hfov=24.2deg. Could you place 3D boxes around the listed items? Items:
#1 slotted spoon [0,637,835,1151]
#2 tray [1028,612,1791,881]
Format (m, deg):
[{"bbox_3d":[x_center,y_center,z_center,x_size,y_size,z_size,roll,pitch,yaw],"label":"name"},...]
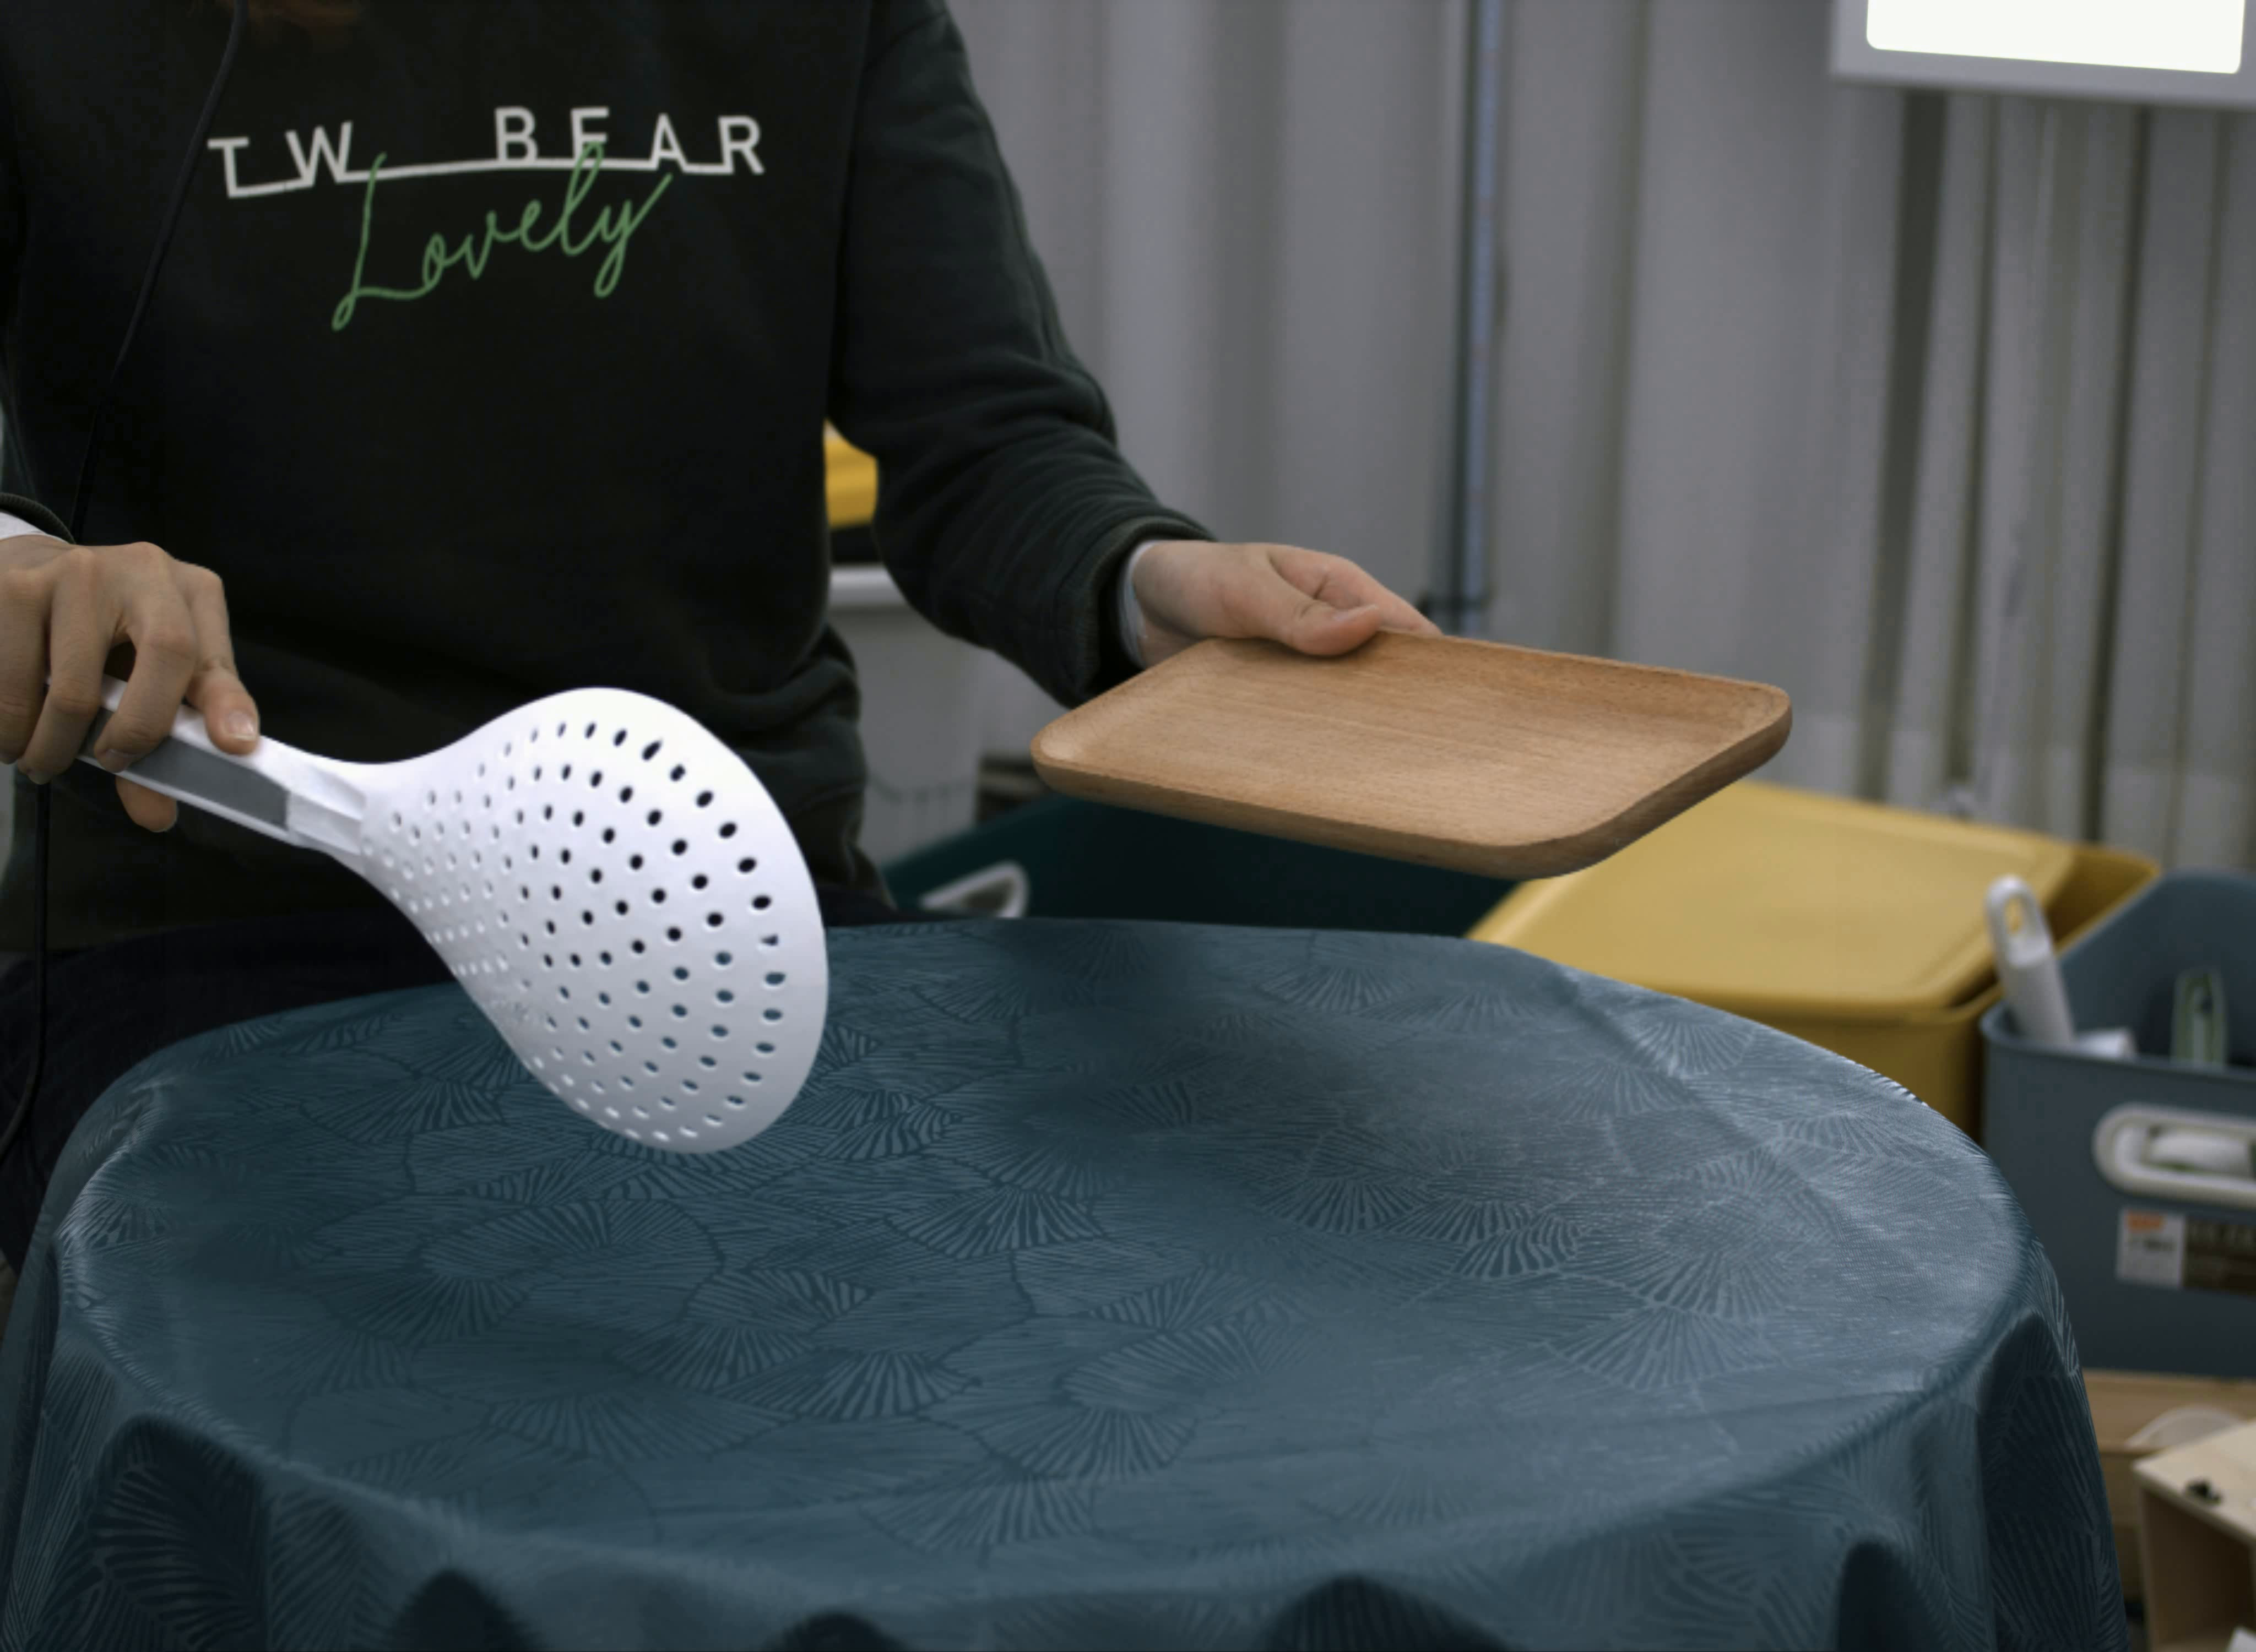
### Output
[{"bbox_3d":[-0.226,-0.003,1.523,0.345,0.137,0.046,22,27,35],"label":"slotted spoon"},{"bbox_3d":[0.085,-0.027,1.653,0.131,0.023,0.247,-27,24,-36],"label":"tray"}]
